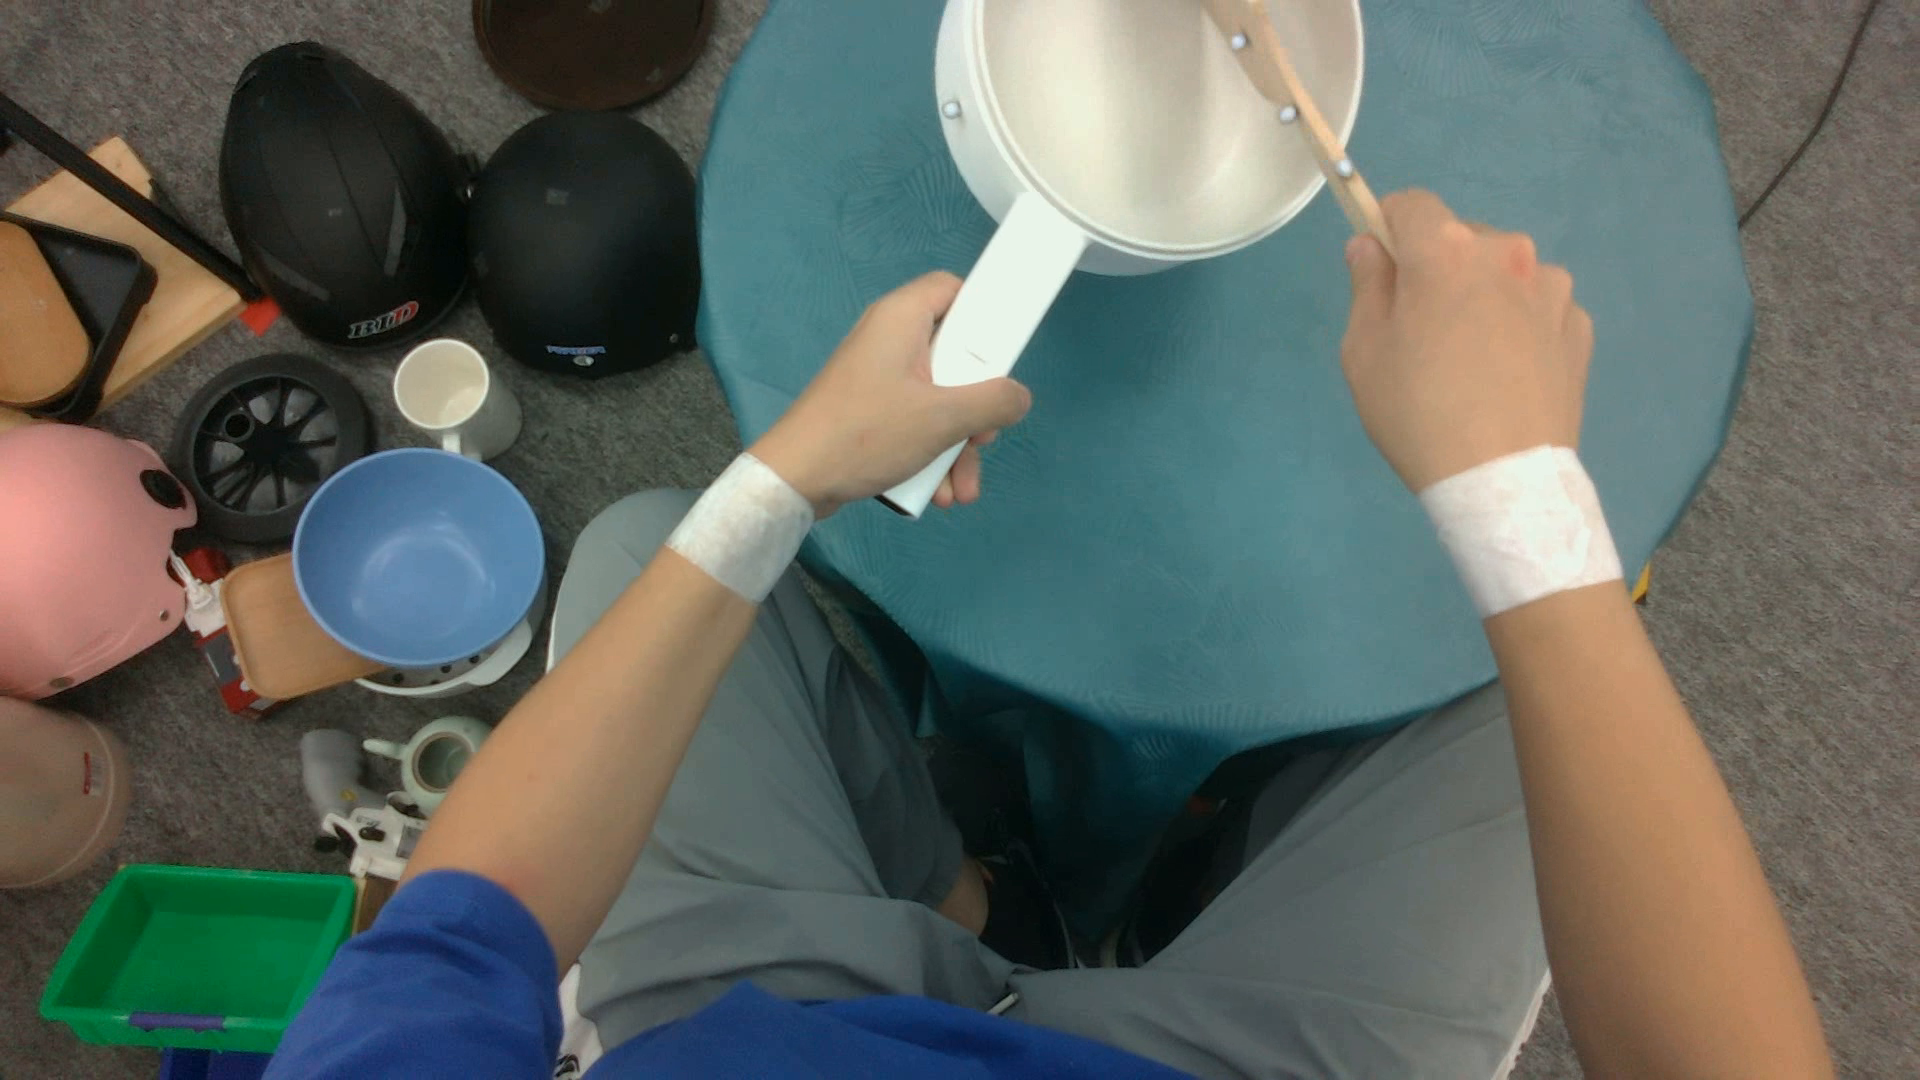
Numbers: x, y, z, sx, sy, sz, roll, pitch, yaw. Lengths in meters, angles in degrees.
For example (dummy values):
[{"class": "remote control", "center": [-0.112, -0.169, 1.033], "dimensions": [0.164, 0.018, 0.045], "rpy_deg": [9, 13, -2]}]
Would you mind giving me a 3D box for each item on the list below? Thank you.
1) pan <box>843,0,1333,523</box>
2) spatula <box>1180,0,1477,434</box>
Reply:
[{"class": "pan", "center": [0.042, -0.168, 0.698], "dimensions": [0.201, 0.102, 0.355], "rpy_deg": [32, 82, -16]}, {"class": "spatula", "center": [0.161, -0.169, 0.627], "dimensions": [0.010, 0.072, 0.294], "rpy_deg": [-23, 63, 3]}]
